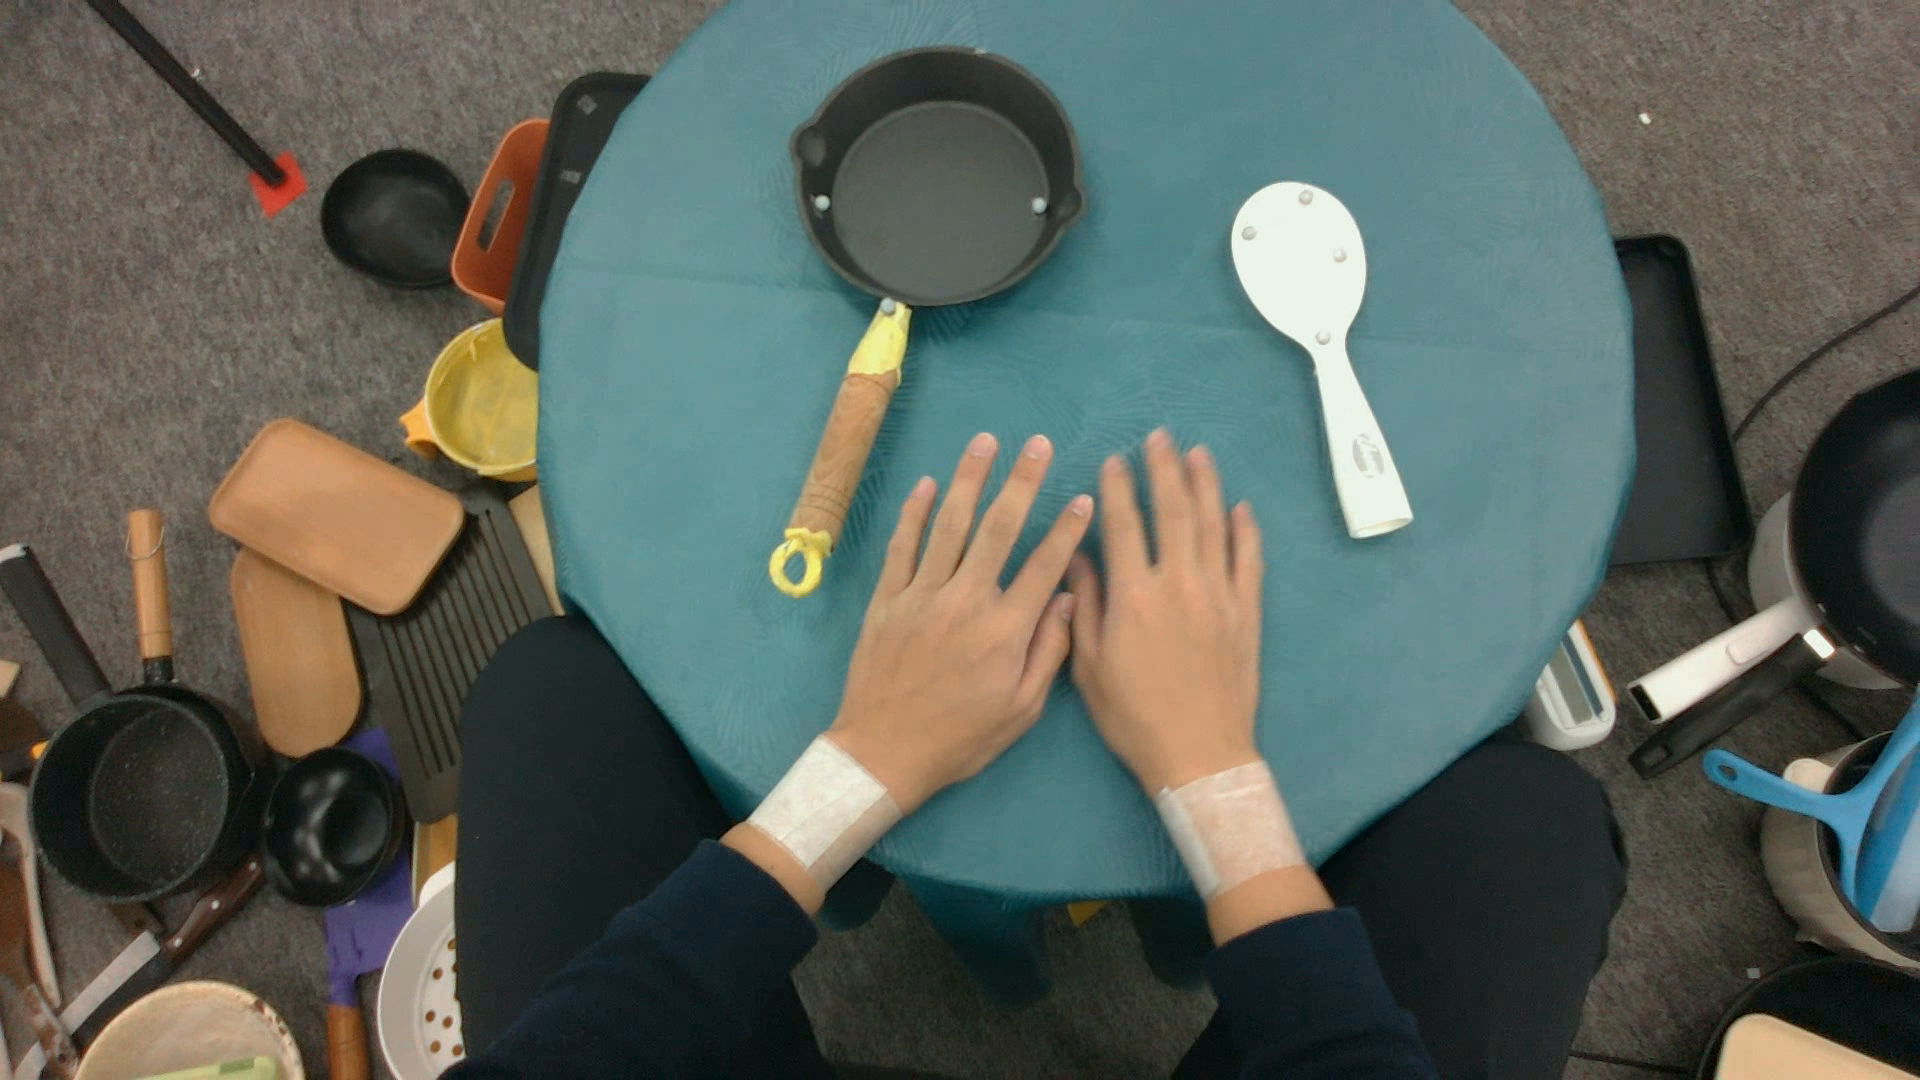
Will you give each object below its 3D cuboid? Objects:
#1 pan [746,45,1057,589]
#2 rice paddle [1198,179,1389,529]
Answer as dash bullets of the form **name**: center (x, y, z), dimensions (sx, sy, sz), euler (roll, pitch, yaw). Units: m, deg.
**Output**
- **pan**: center (-0.053, -0.124, 0.739), dimensions (0.169, 0.049, 0.325), euler (16, 74, 6)
- **rice paddle**: center (0.181, -0.106, 0.738), dimensions (0.069, 0.029, 0.205), euler (-14, 74, -4)
